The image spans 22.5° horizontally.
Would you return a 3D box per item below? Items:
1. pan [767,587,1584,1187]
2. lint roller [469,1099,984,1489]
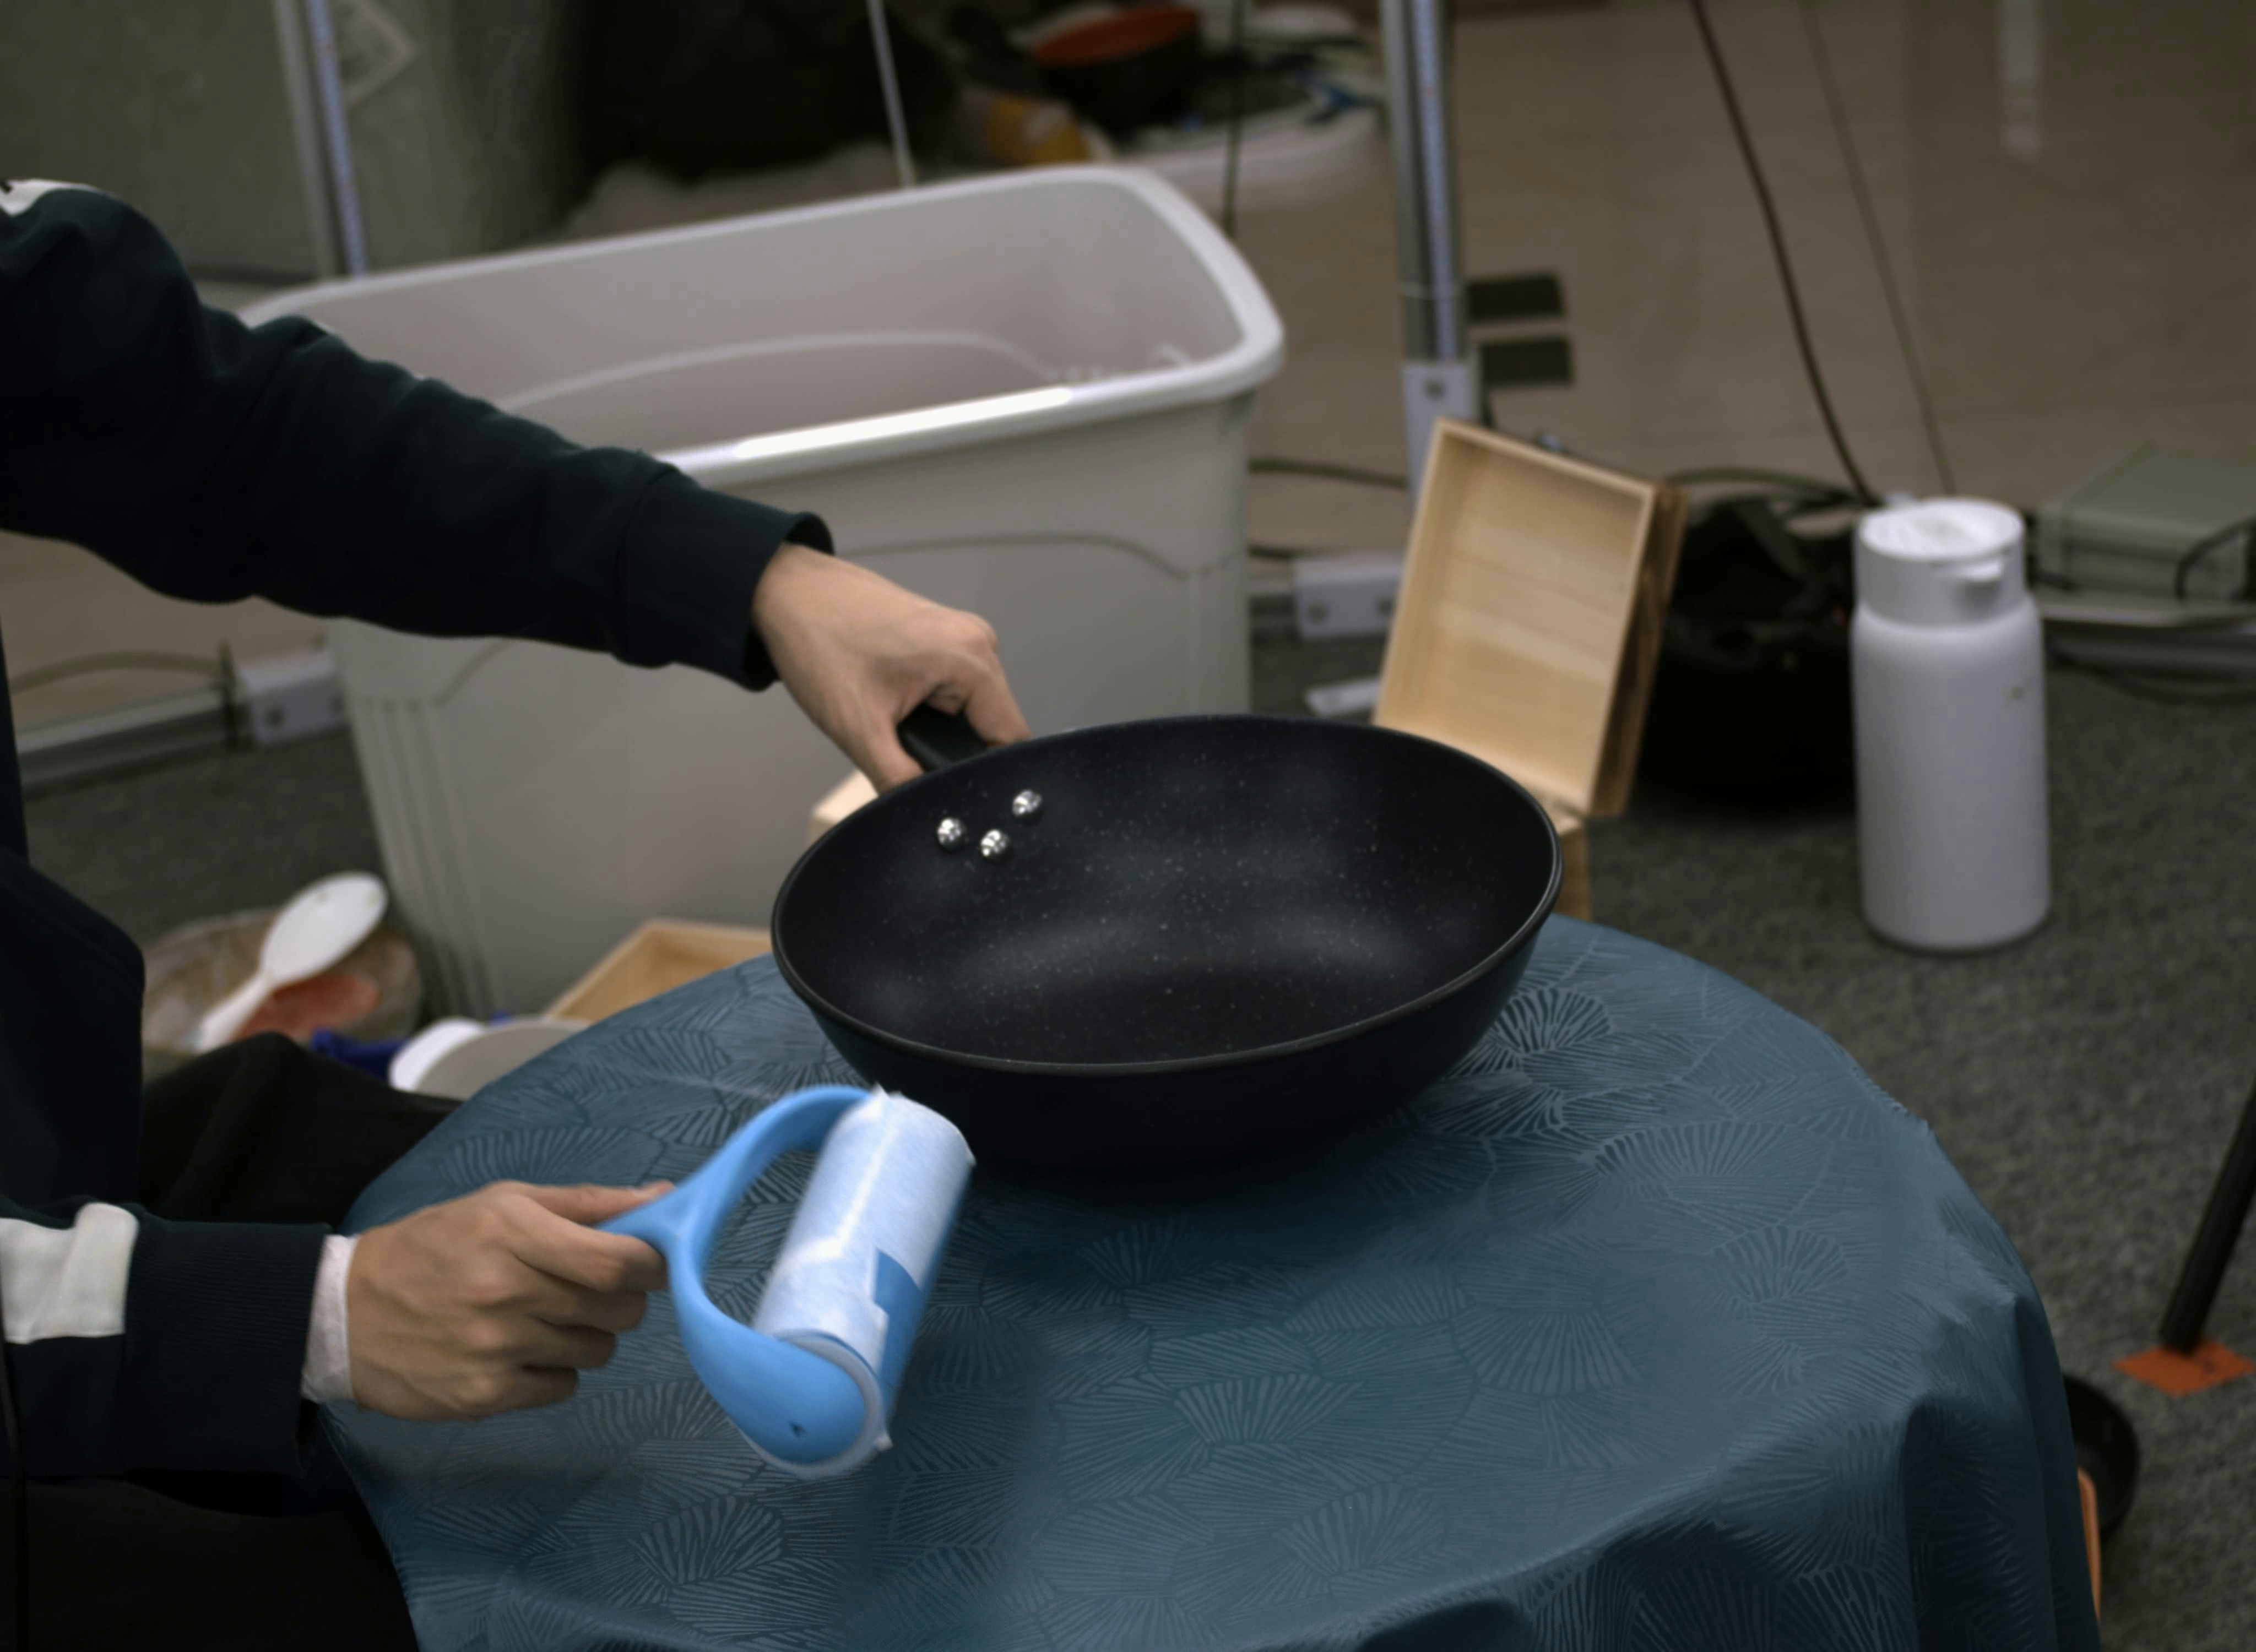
[{"bbox_3d":[-0.020,0.025,2.263,0.308,0.113,0.471,-18,28,-27],"label":"pan"},{"bbox_3d":[-0.146,0.166,1.970,0.180,0.069,0.226,-6,23,6],"label":"lint roller"}]
